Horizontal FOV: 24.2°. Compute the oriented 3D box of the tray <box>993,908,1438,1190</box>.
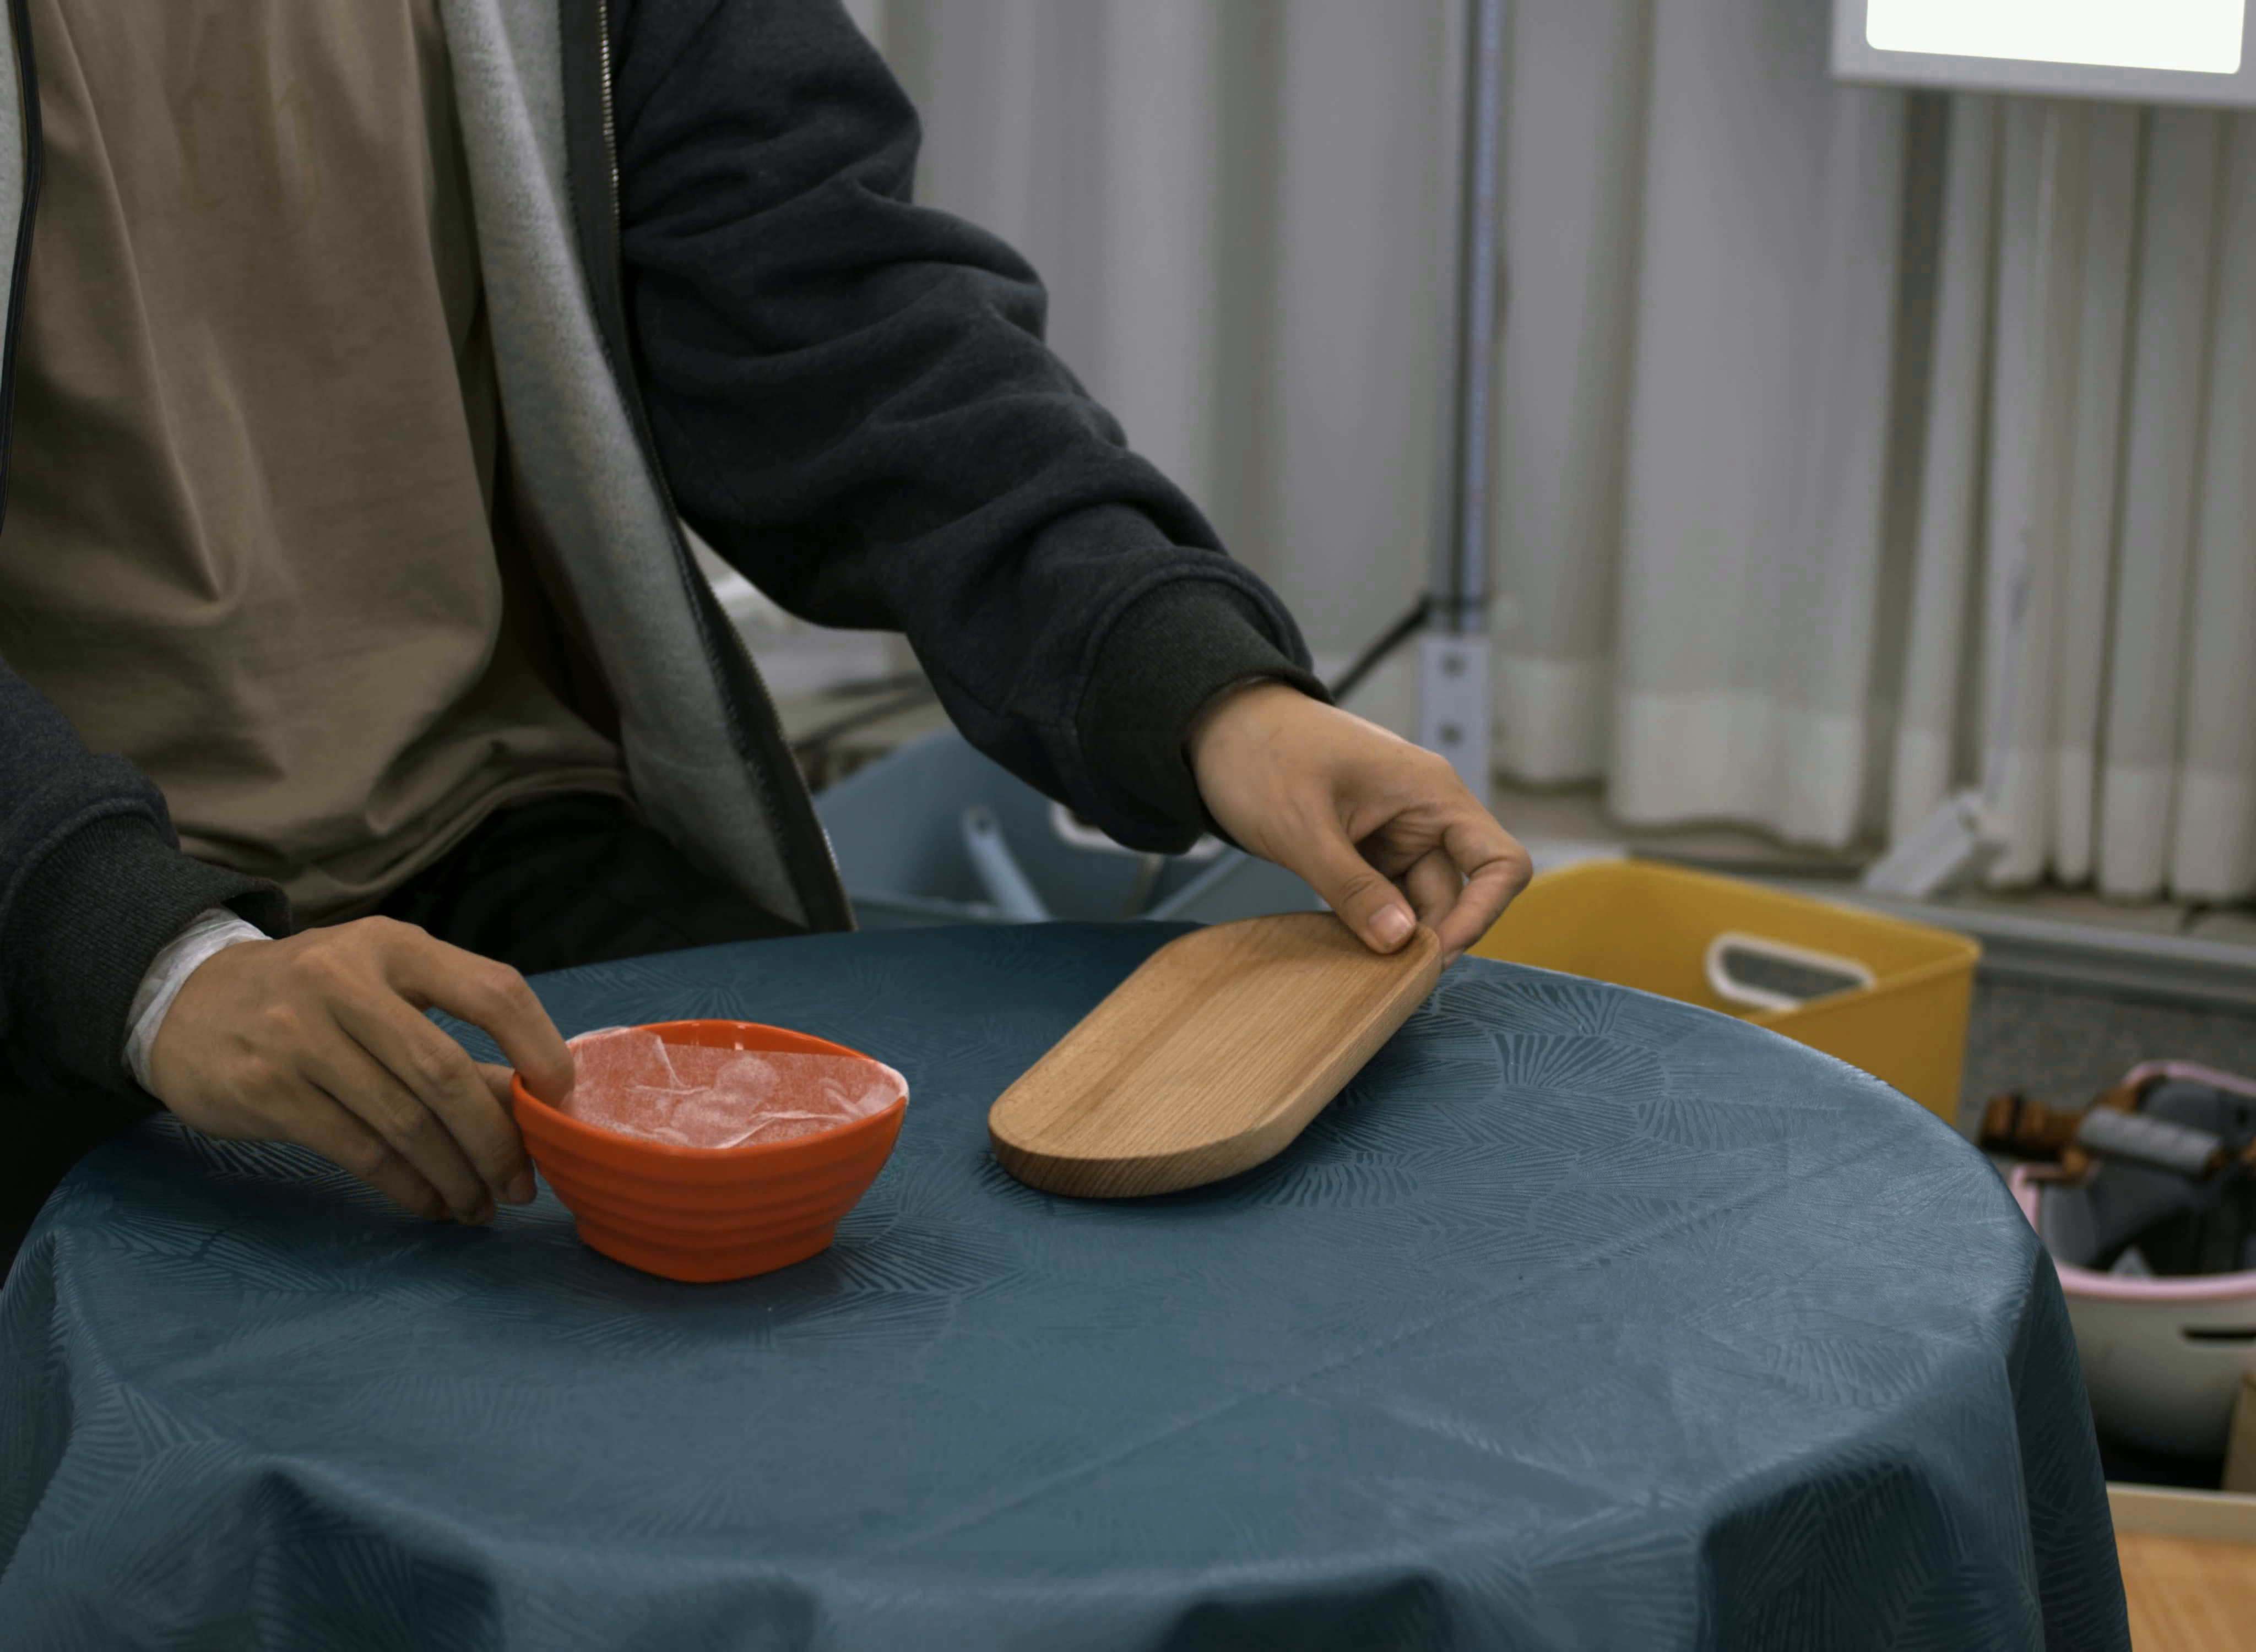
[{"bbox_3d":[0.031,0.070,1.711,0.101,0.020,0.231,0,17,21],"label":"tray"}]

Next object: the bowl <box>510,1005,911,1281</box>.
[{"bbox_3d":[-0.125,0.096,1.565,0.118,0.052,0.118,4,19,-1],"label":"bowl"}]
